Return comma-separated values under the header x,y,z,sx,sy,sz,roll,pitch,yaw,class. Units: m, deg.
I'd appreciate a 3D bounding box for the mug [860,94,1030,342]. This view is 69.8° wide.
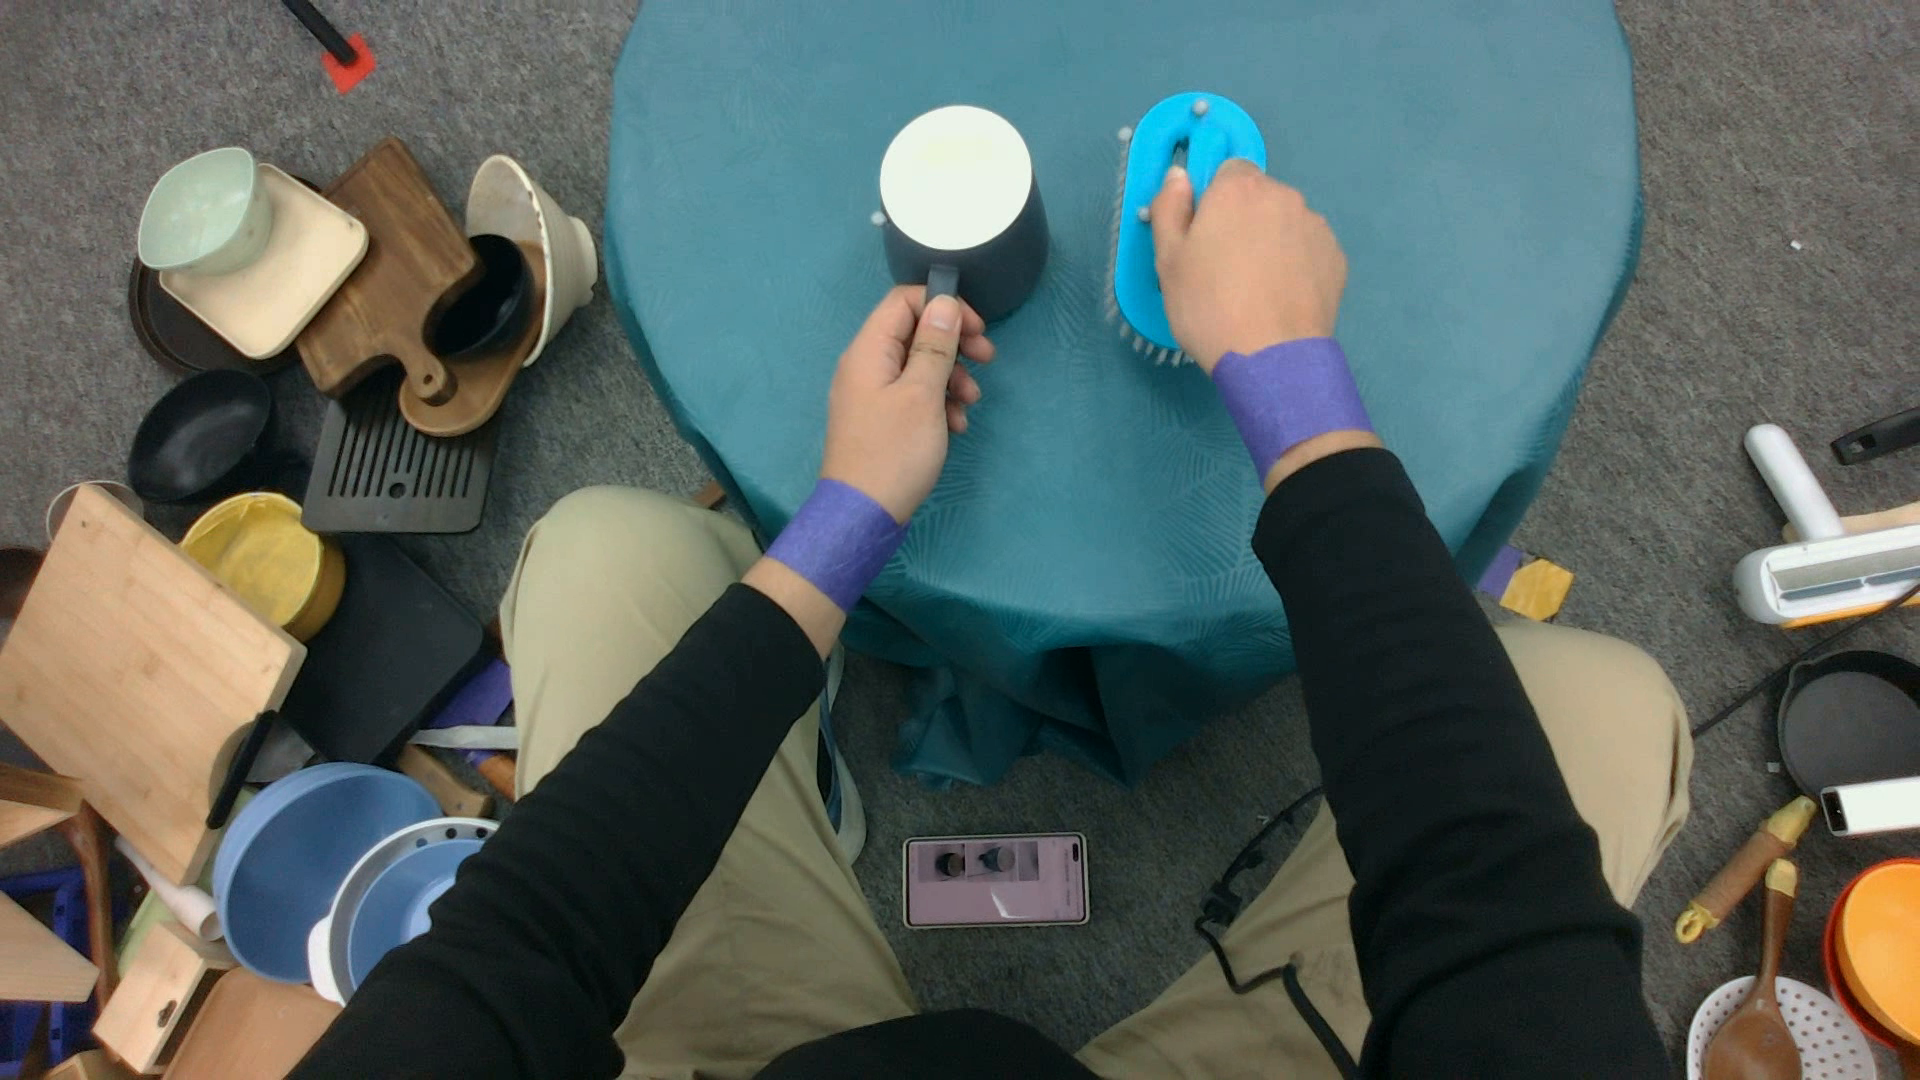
x,y,z,sx,sy,sz,roll,pitch,yaw,class
-0.012,-0.168,0.745,0.093,0.089,0.123,9,75,7,mug

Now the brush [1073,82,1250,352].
x,y,z,sx,sy,sz,roll,pitch,yaw,class
0.108,-0.173,0.721,0.084,0.063,0.142,8,84,-4,brush
